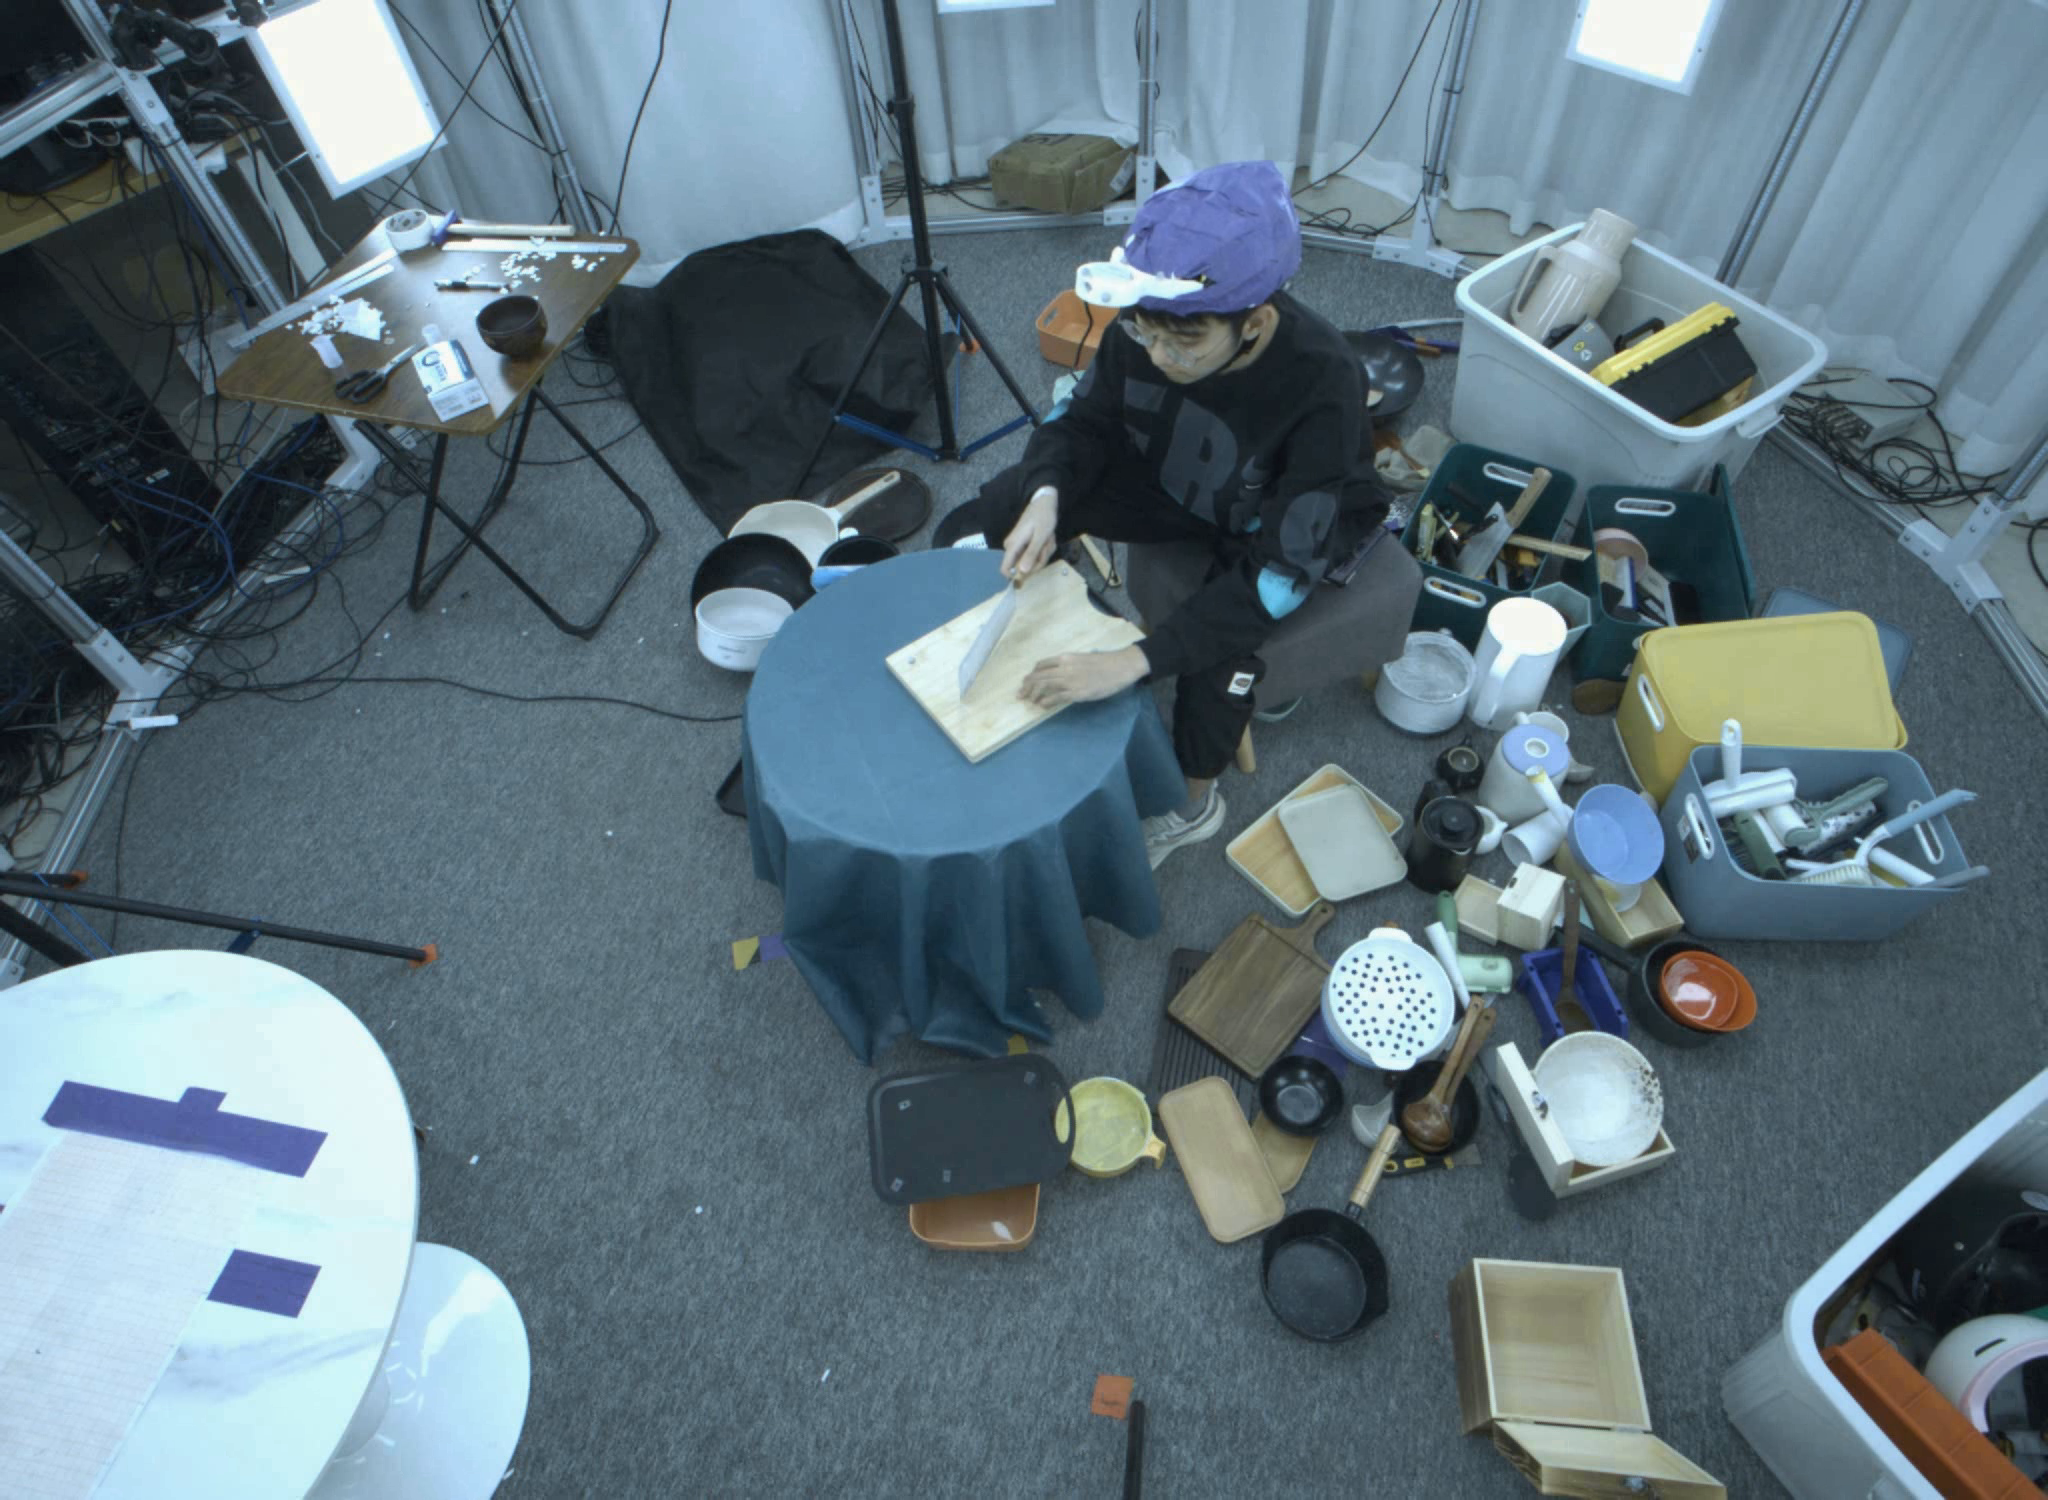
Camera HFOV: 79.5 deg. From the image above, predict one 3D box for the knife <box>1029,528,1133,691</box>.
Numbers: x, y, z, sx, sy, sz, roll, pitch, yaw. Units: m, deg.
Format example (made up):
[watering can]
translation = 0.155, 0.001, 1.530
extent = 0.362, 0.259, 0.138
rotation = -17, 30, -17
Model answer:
[knife]
translation = 0.084, -0.209, 1.845
extent = 0.021, 0.093, 0.306
rotation = 26, 62, 14

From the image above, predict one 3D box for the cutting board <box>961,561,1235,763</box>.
[cutting board]
translation = 0.109, -0.143, 1.873
extent = 0.351, 0.024, 0.246
rotation = -29, 59, -17
